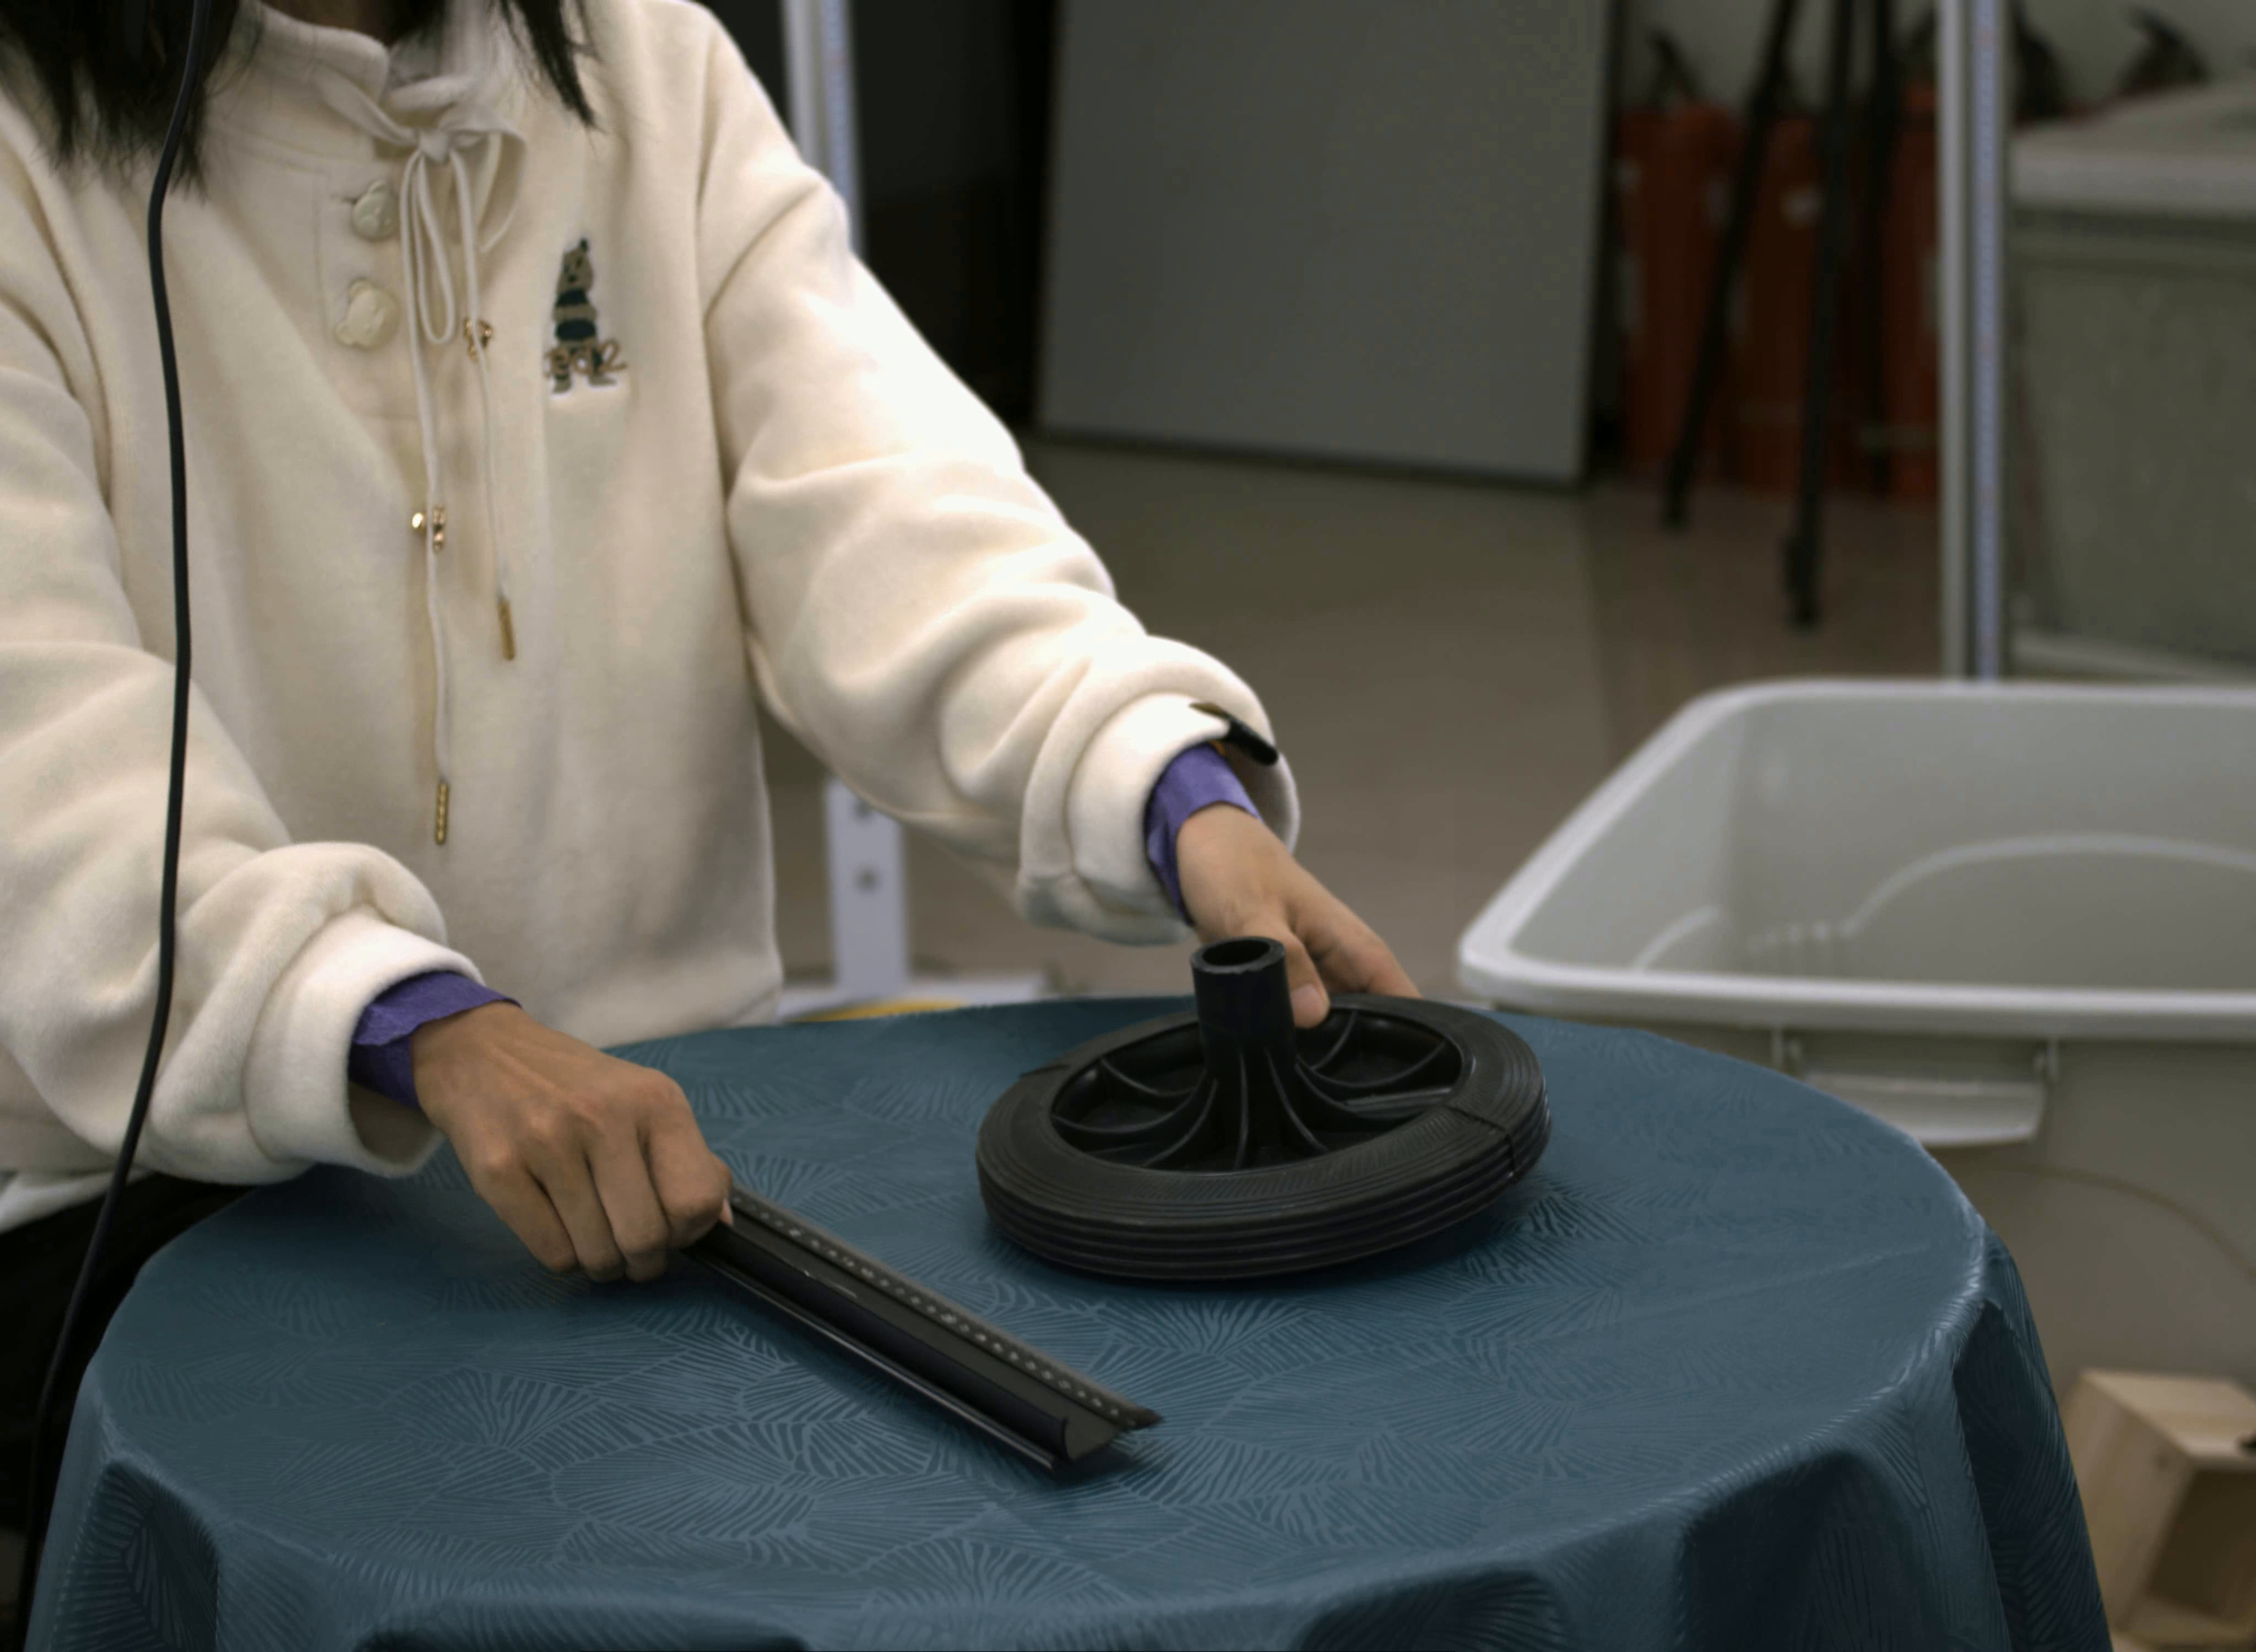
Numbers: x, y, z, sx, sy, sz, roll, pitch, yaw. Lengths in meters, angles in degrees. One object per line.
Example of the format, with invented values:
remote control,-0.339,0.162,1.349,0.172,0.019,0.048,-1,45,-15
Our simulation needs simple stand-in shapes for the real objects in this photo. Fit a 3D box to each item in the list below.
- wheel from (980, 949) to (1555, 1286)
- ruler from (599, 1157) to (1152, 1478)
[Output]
wheel,0.042,0.082,1.737,0.186,0.080,0.189,-14,19,-17
ruler,-0.083,0.141,1.644,0.038,0.017,0.316,-18,19,-25
